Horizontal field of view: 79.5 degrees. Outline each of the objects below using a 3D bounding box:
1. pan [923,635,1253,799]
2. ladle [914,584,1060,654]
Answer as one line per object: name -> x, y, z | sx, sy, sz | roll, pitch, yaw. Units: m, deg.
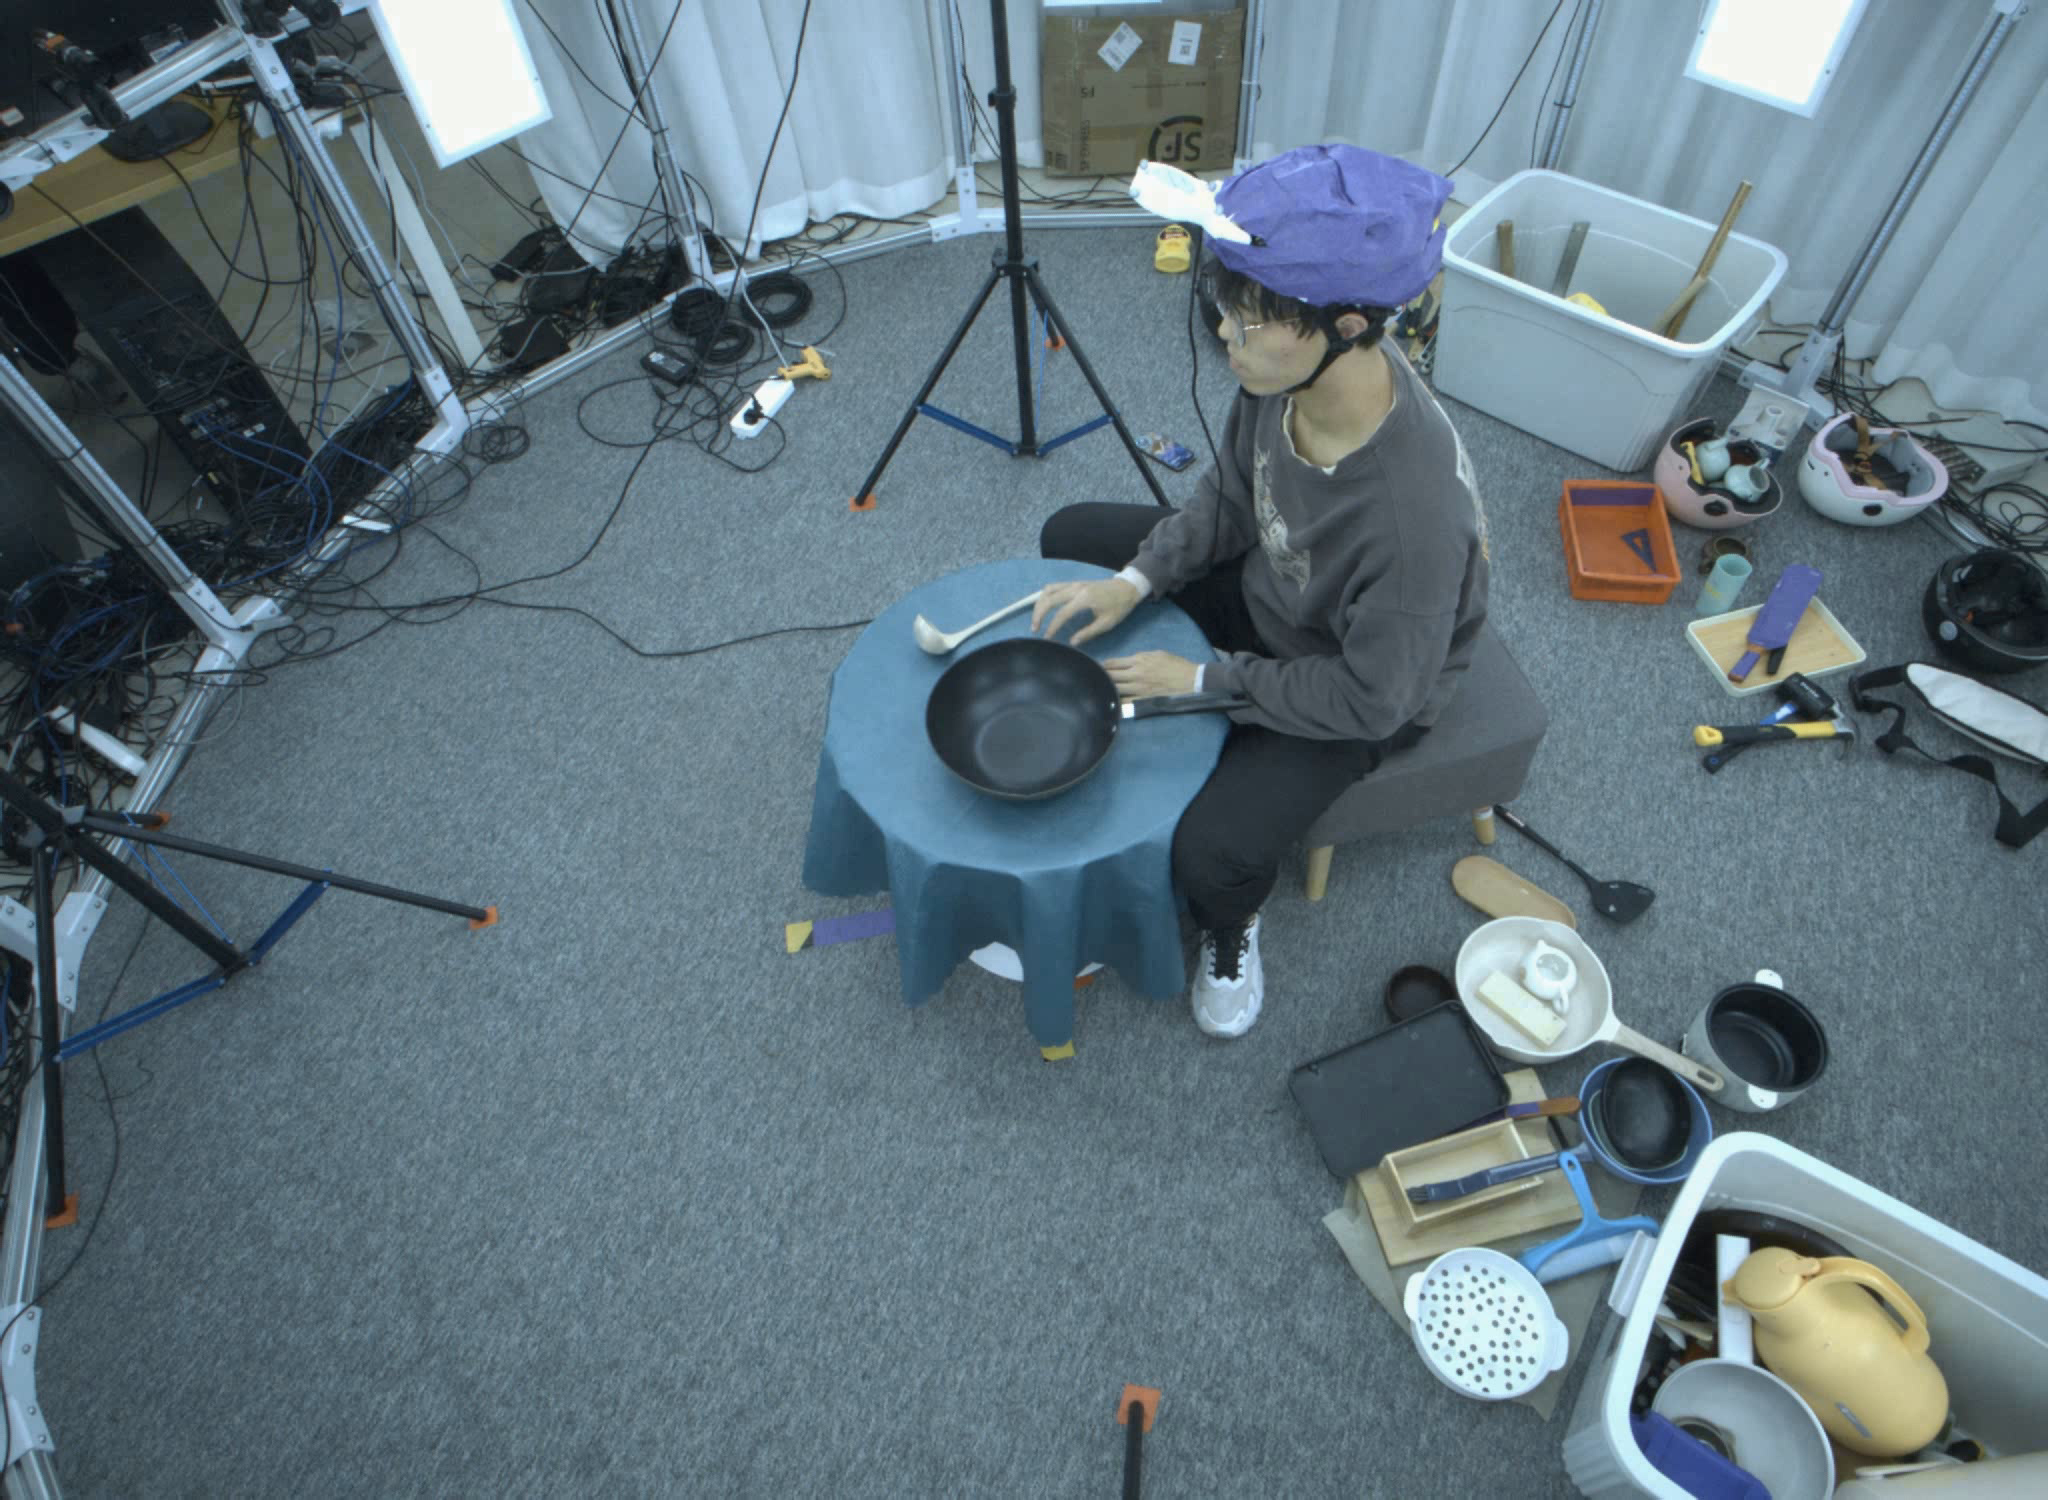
pan -> 0.091, -0.038, 1.758 | 0.464, 0.088, 0.285 | -3, 54, -1
ladle -> -0.054, -0.228, 1.906 | 0.256, 0.074, 0.070 | -30, 48, -18
